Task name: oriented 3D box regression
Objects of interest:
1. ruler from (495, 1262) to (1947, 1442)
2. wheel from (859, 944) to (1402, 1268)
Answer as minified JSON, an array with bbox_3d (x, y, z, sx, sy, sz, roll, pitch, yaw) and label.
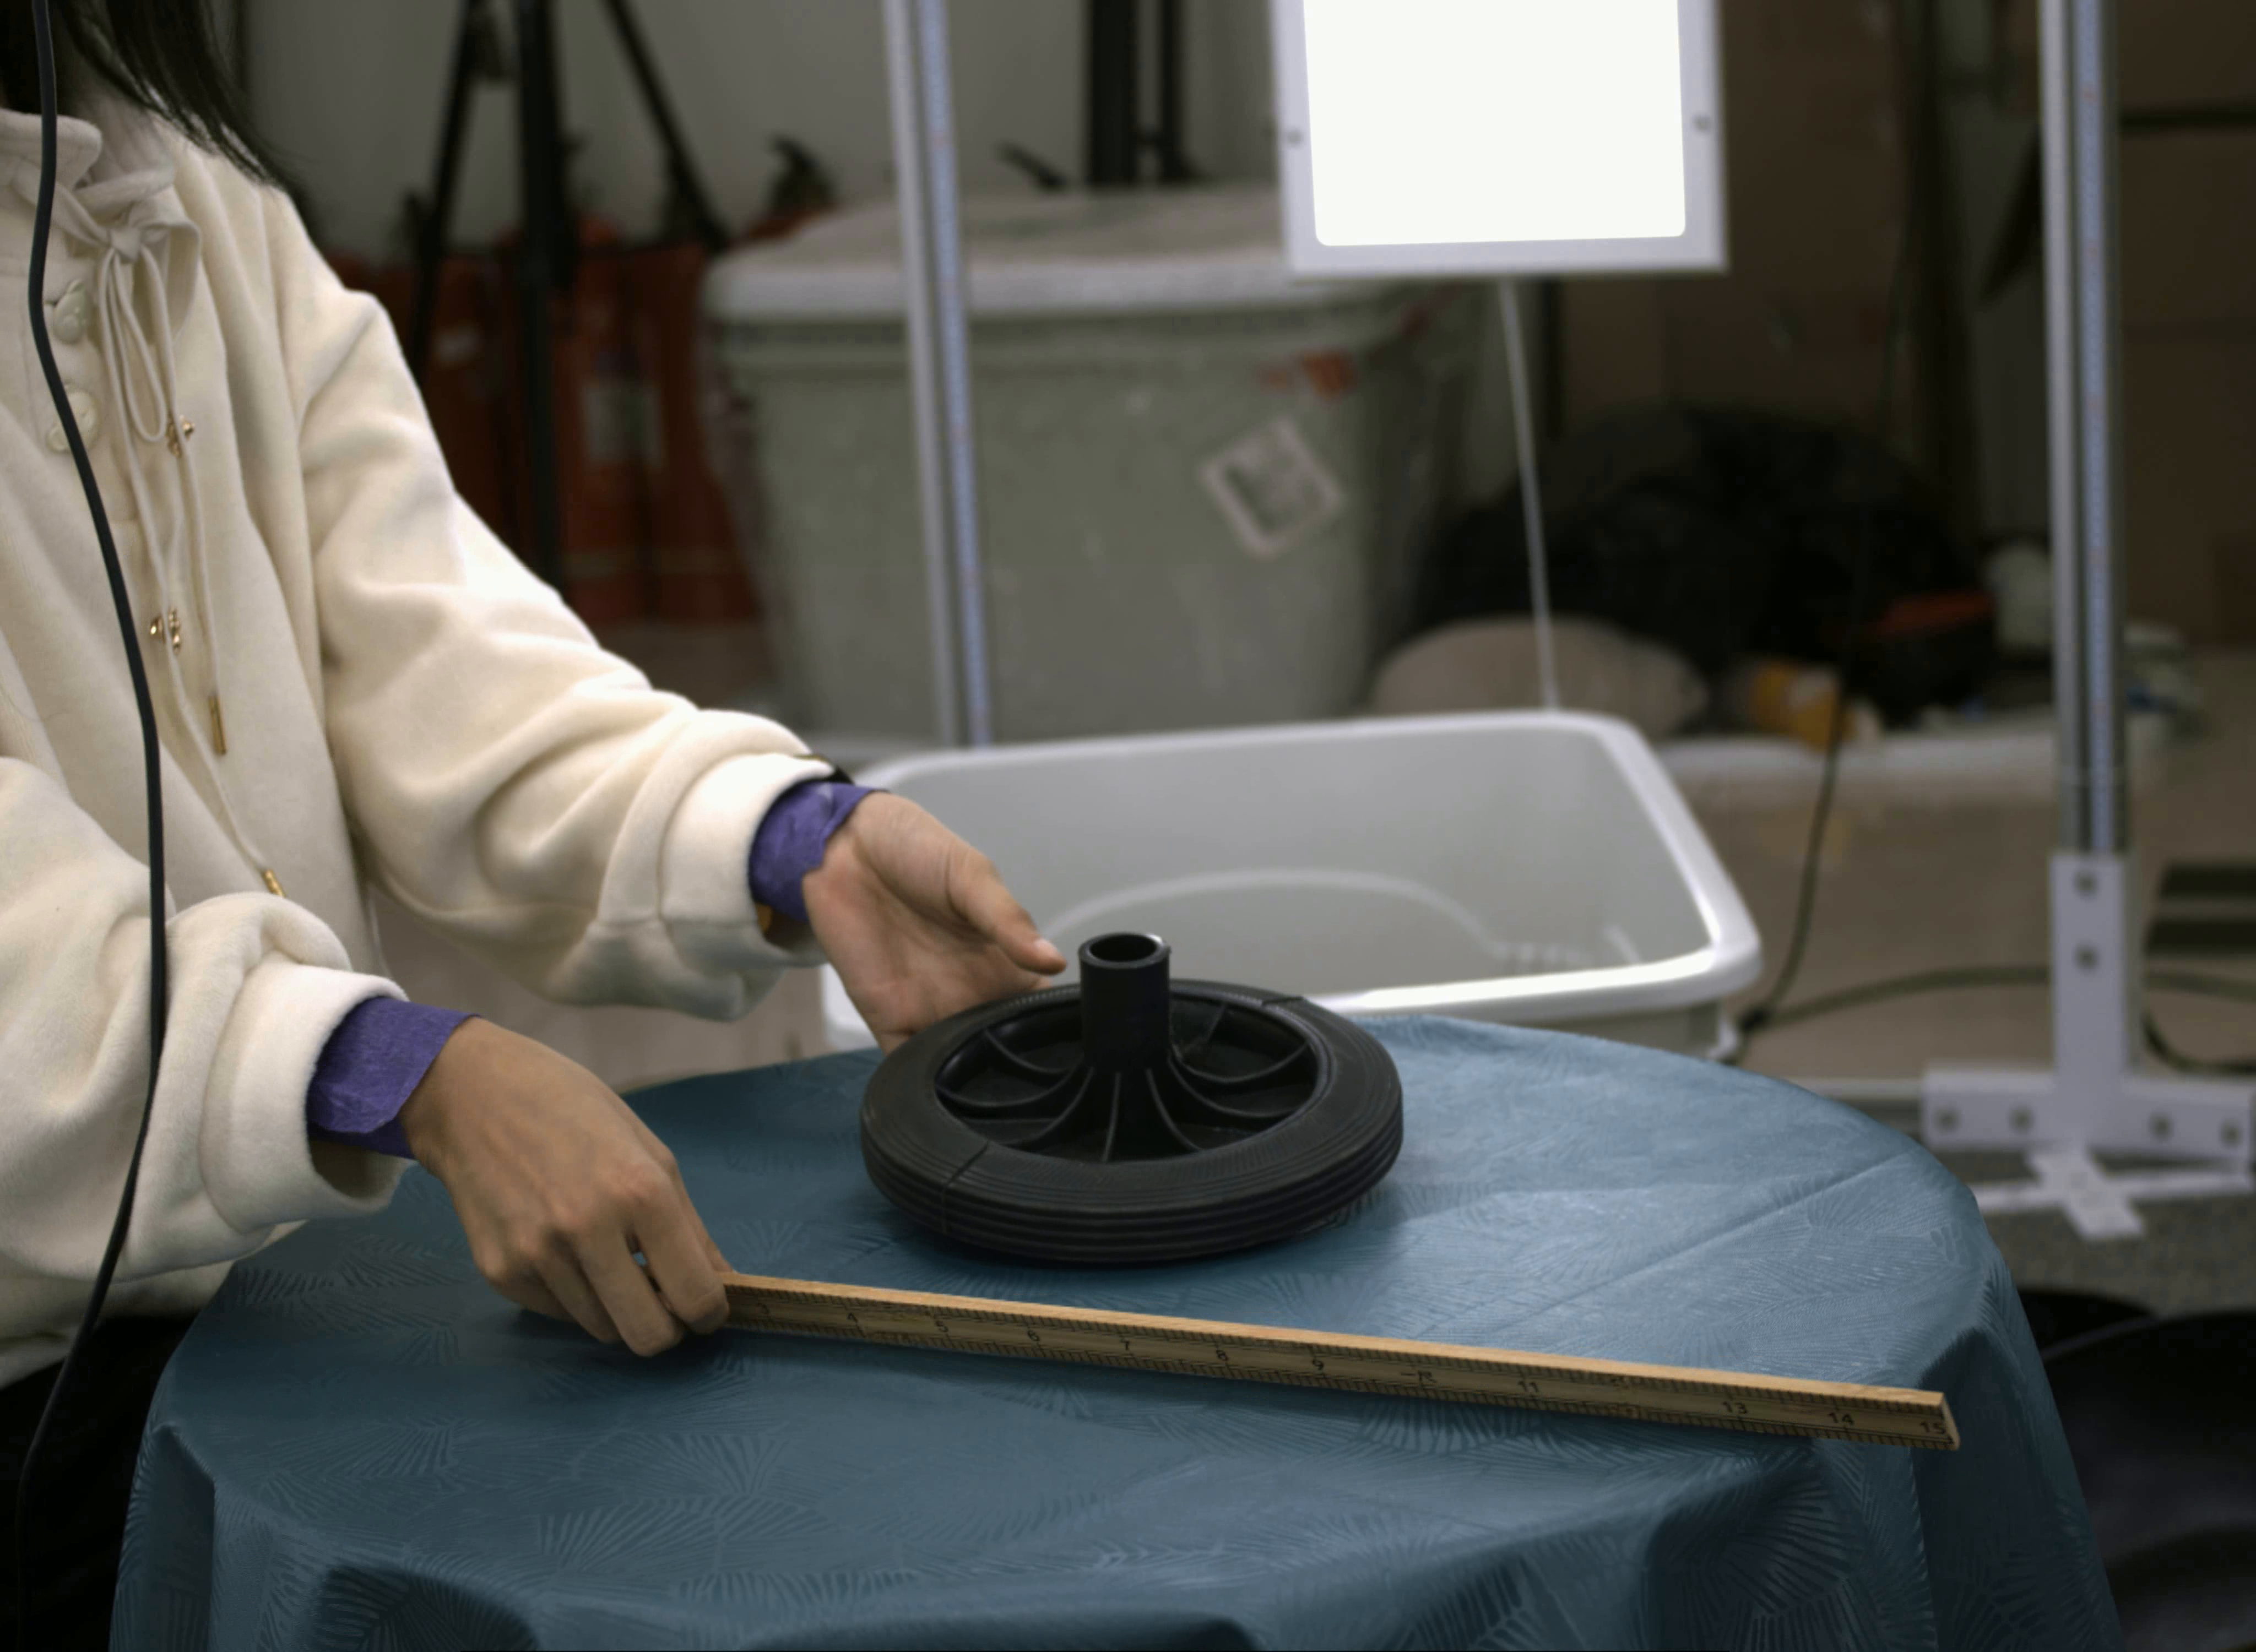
[{"bbox_3d":[0.016,0.161,1.705,0.509,0.026,0.006,2,51,29],"label":"ruler"},{"bbox_3d":[0.000,0.082,1.889,0.185,0.079,0.191,-7,22,-9],"label":"wheel"}]
